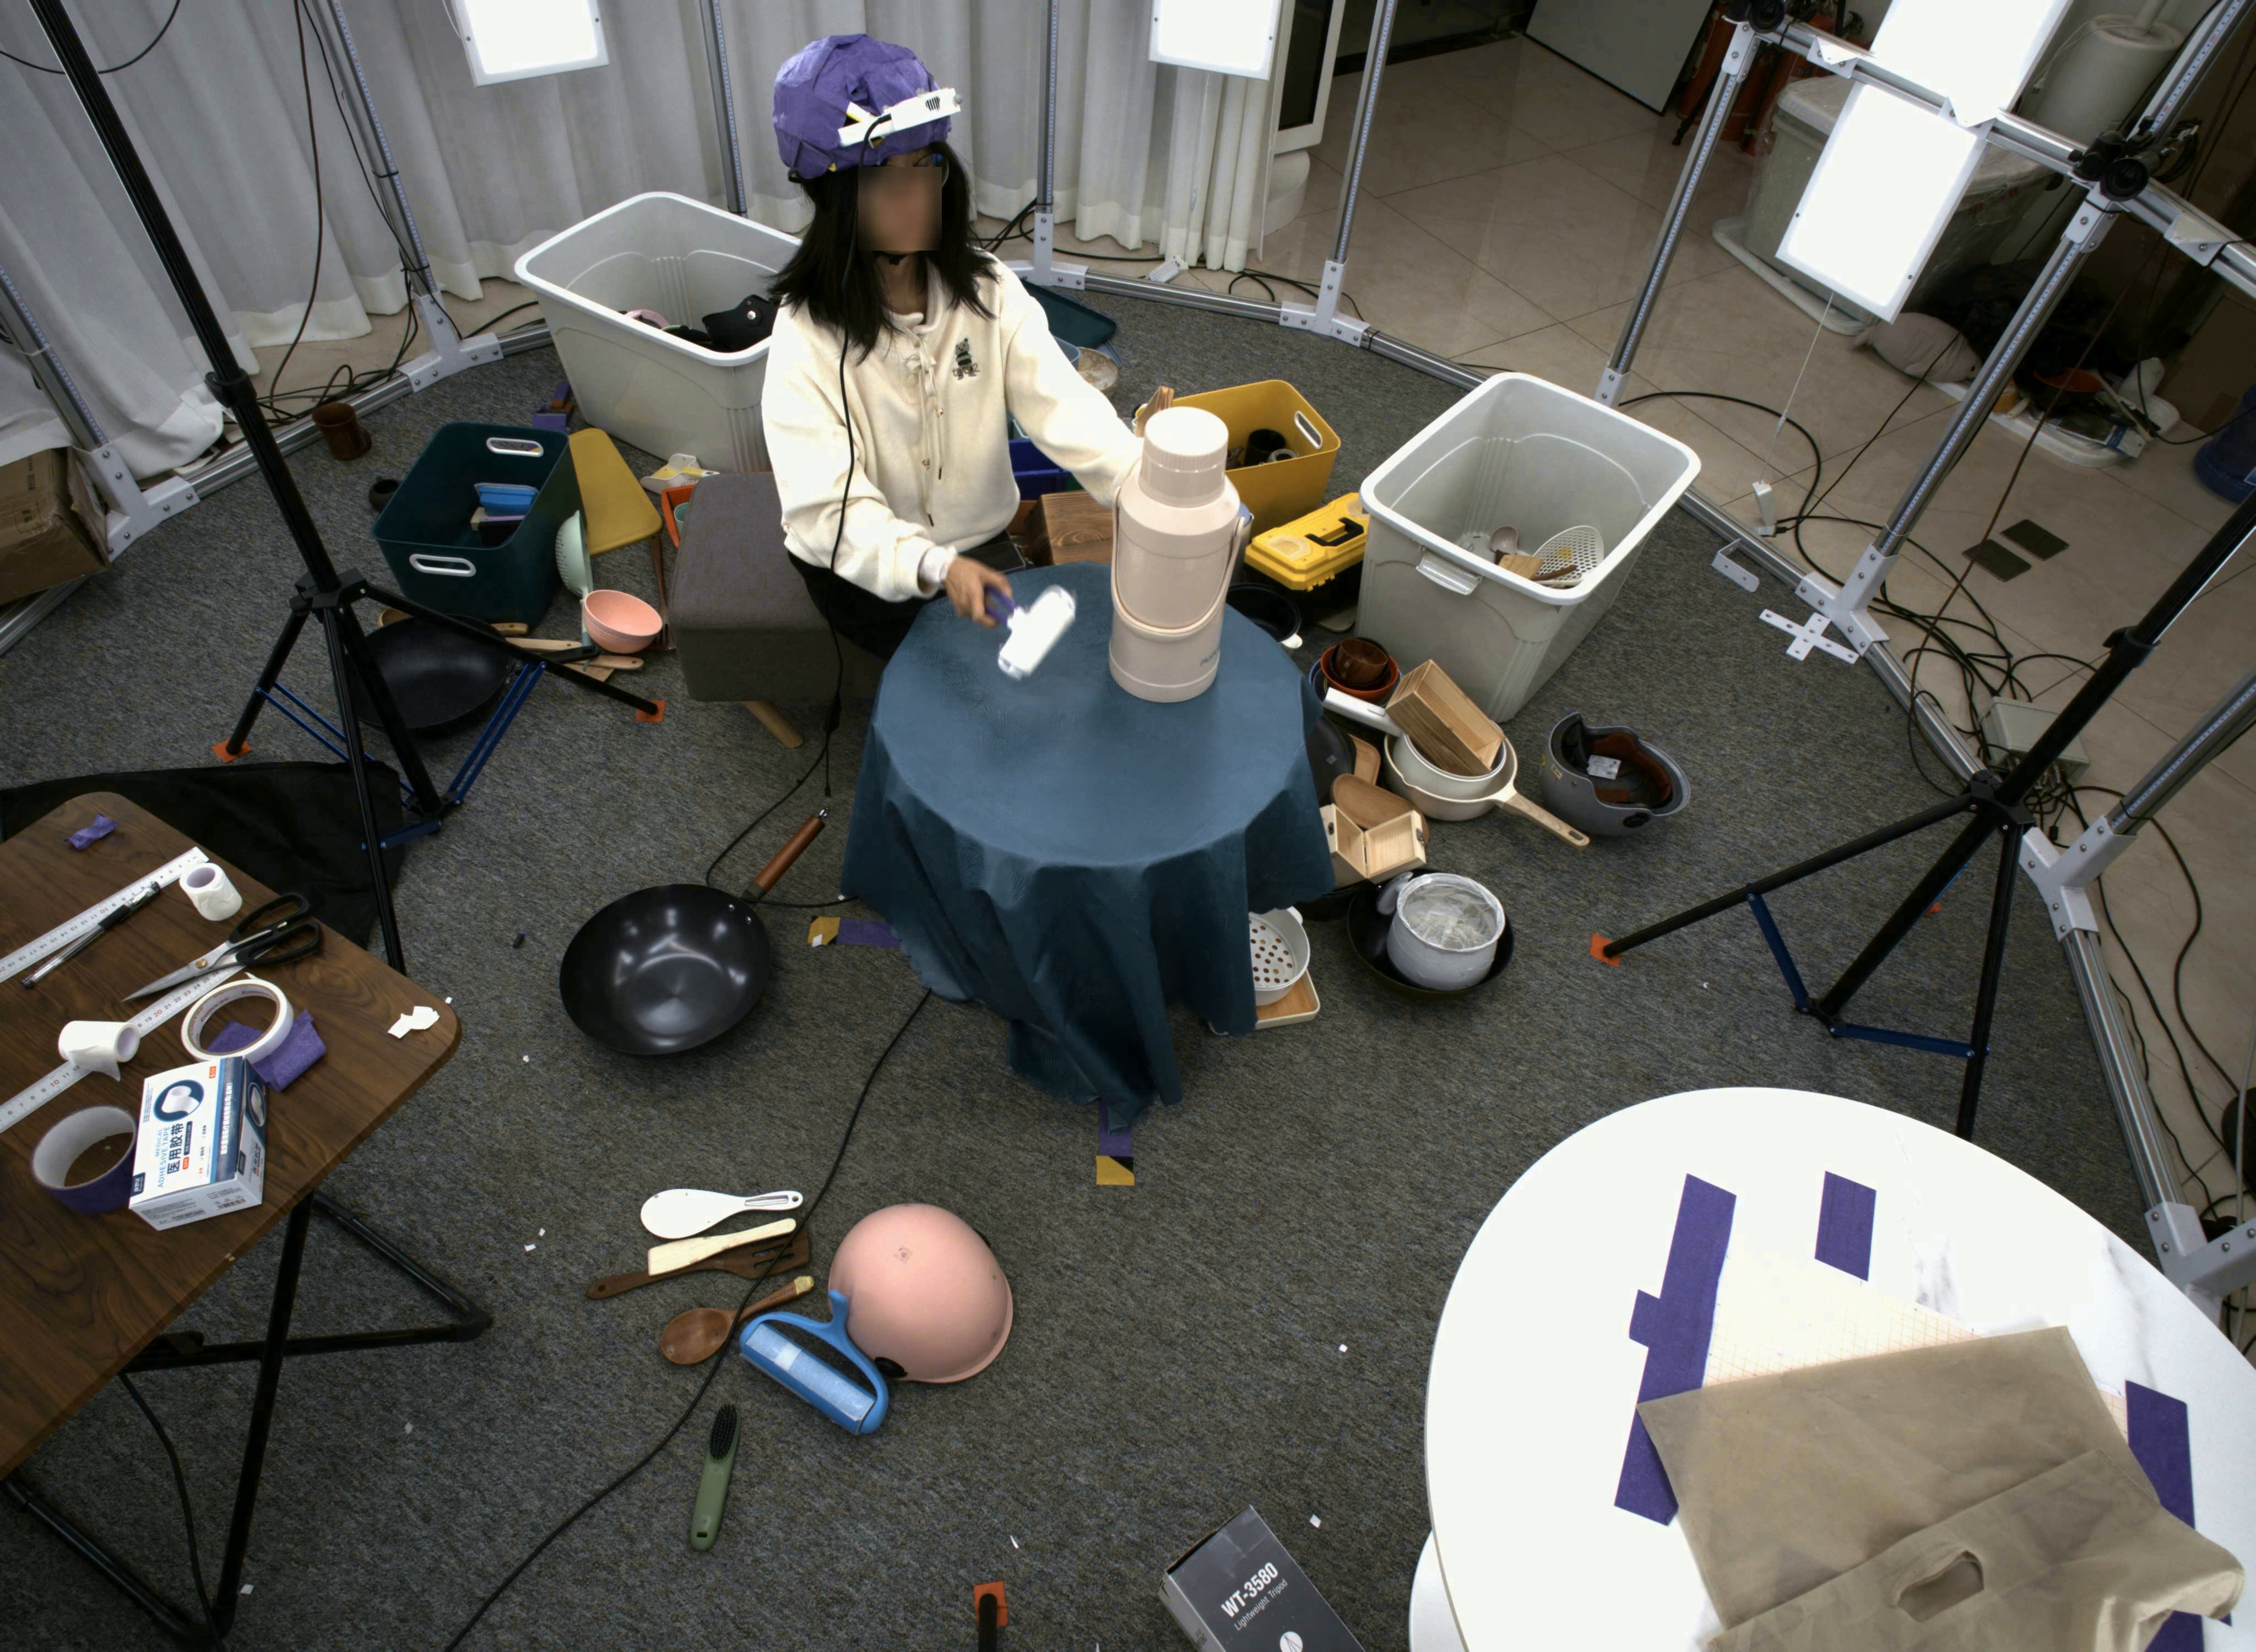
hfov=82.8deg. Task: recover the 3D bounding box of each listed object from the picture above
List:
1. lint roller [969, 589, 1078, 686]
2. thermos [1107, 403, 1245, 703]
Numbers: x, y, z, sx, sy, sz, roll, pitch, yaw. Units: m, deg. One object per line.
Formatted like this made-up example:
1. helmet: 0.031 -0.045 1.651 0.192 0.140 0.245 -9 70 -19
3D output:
1. lint roller: -0.162 -0.284 1.754 0.133 0.049 0.184 -48 61 -2
2. thermos: 0.066 -0.371 1.740 0.176 0.396 0.211 16 50 10
